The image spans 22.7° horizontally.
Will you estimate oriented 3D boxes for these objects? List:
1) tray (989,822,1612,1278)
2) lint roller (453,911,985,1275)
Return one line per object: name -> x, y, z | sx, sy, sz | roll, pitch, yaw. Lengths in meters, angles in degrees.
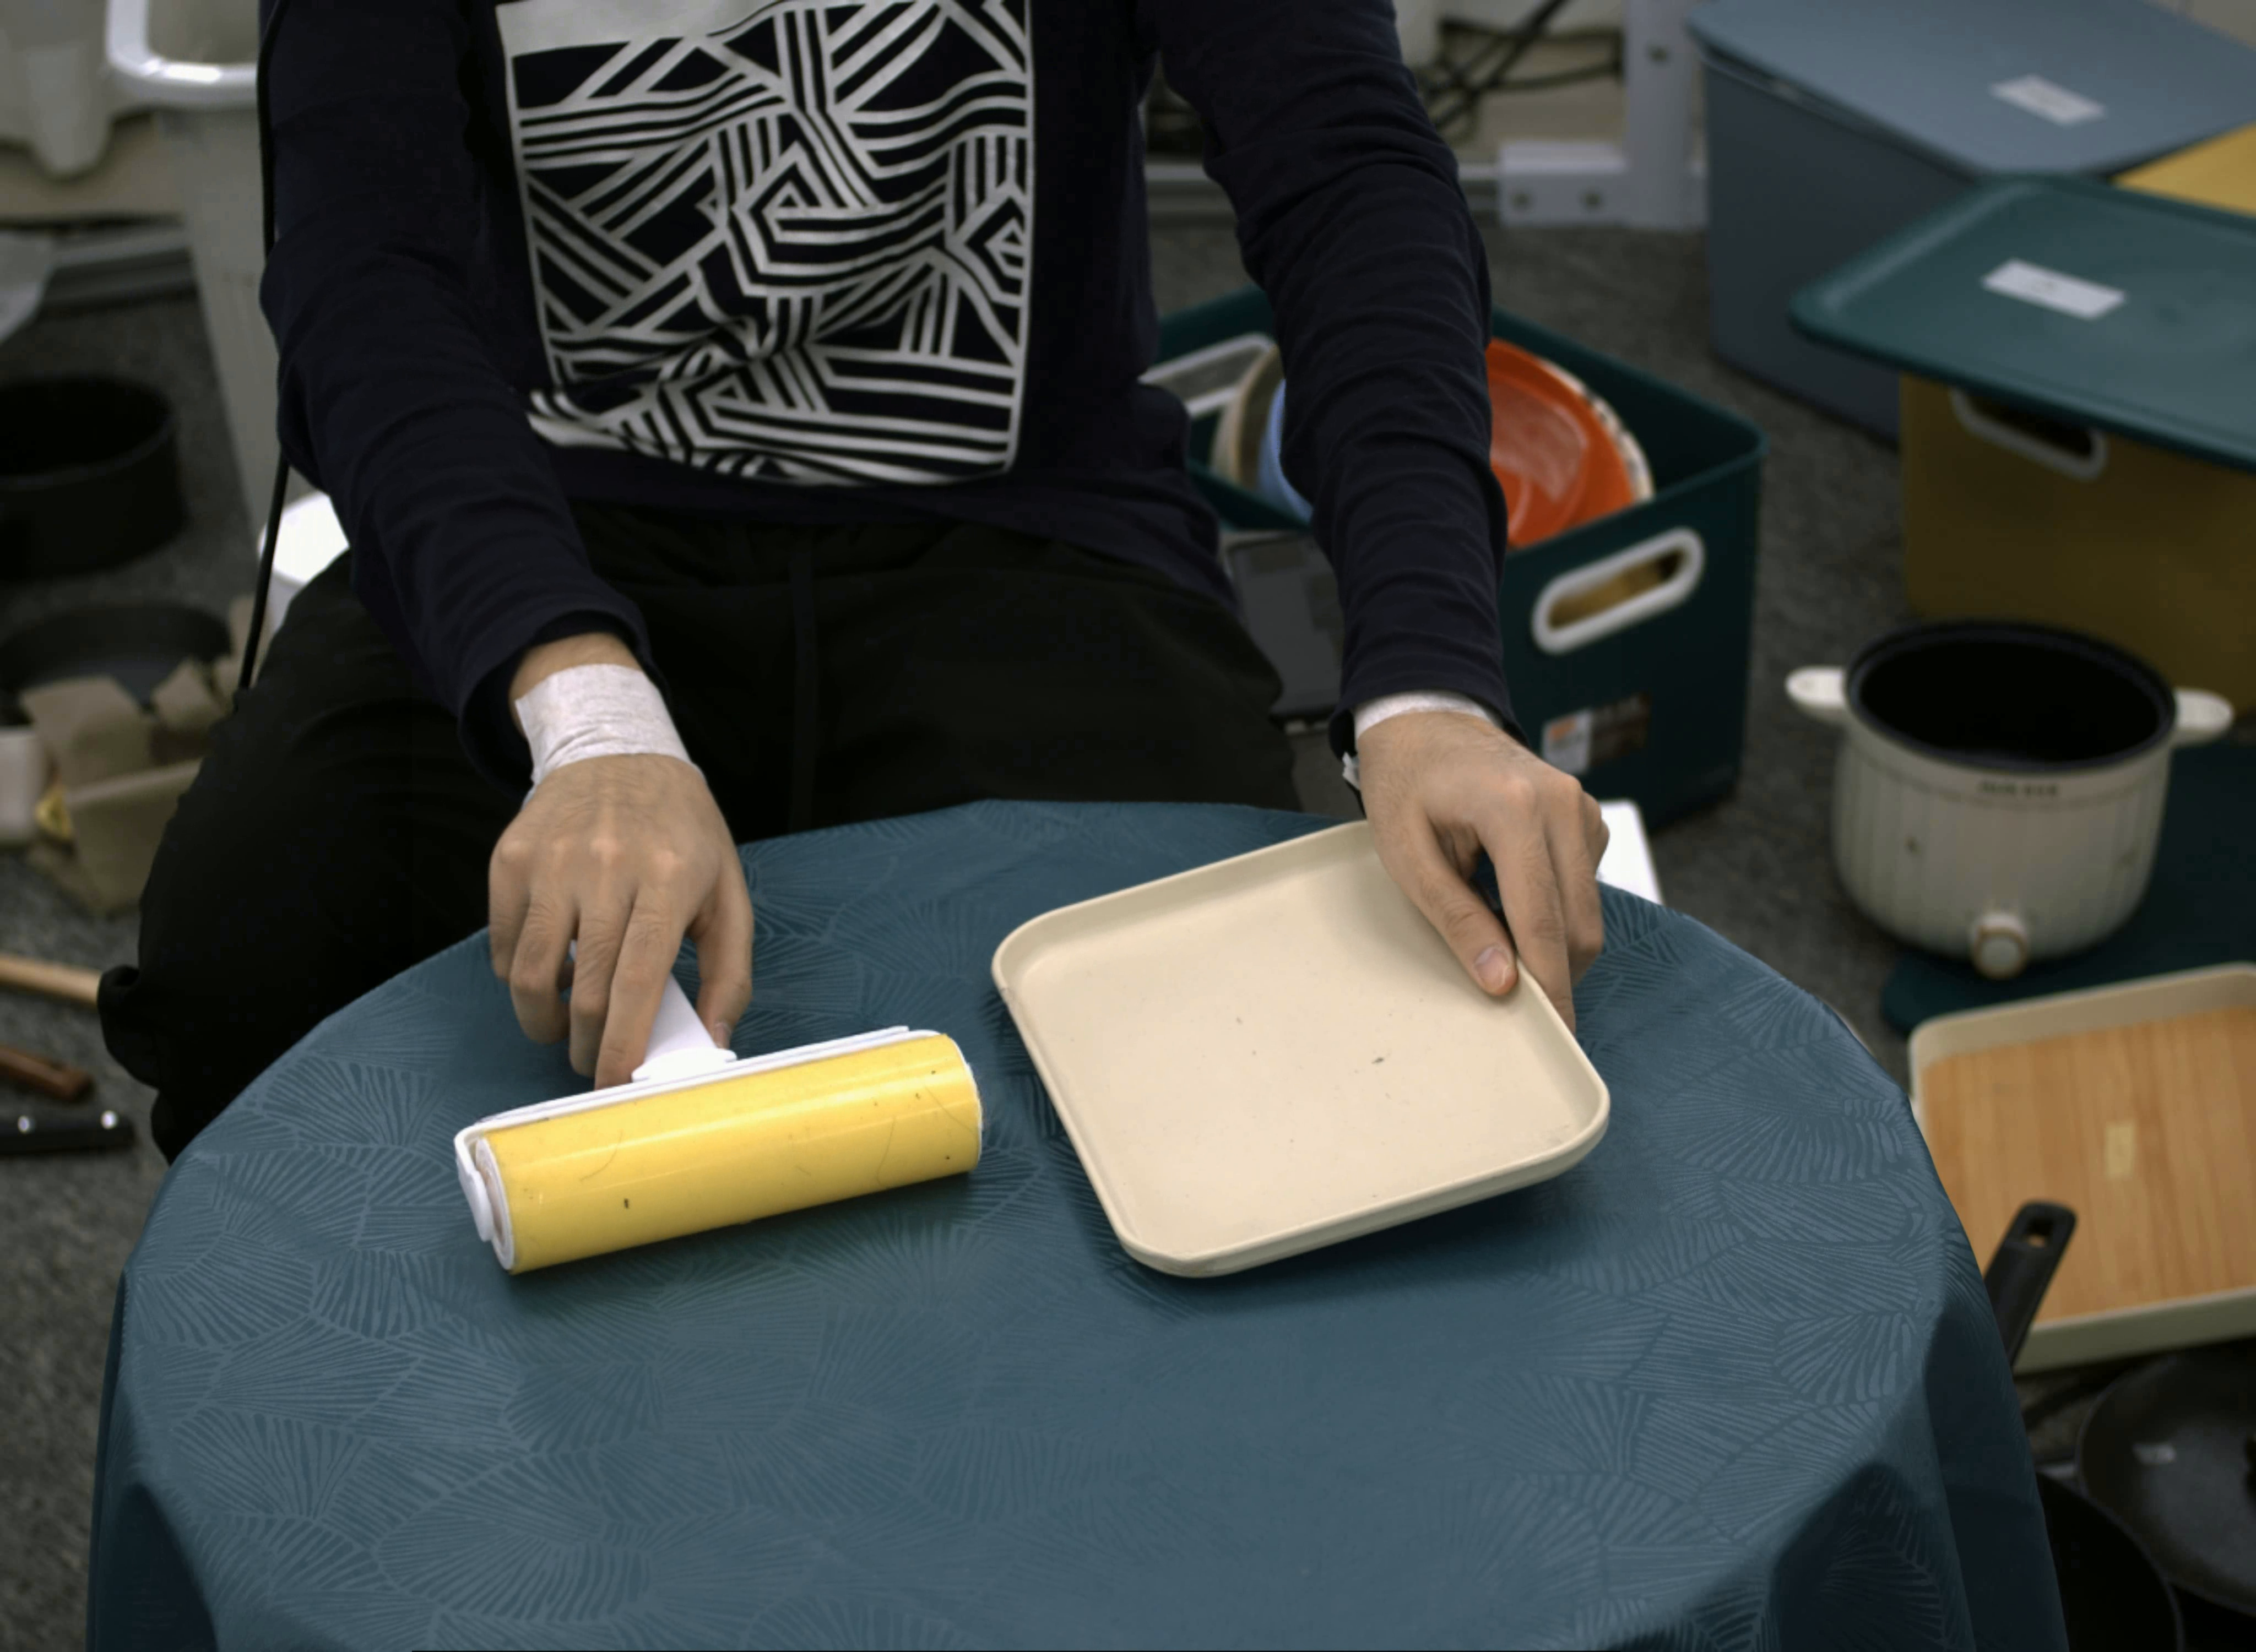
tray -> 0.055, 0.075, 1.908 | 0.171, 0.017, 0.242 | -15, 29, -8
lint roller -> -0.158, 0.071, 1.903 | 0.175, 0.050, 0.194 | -11, 38, -19
